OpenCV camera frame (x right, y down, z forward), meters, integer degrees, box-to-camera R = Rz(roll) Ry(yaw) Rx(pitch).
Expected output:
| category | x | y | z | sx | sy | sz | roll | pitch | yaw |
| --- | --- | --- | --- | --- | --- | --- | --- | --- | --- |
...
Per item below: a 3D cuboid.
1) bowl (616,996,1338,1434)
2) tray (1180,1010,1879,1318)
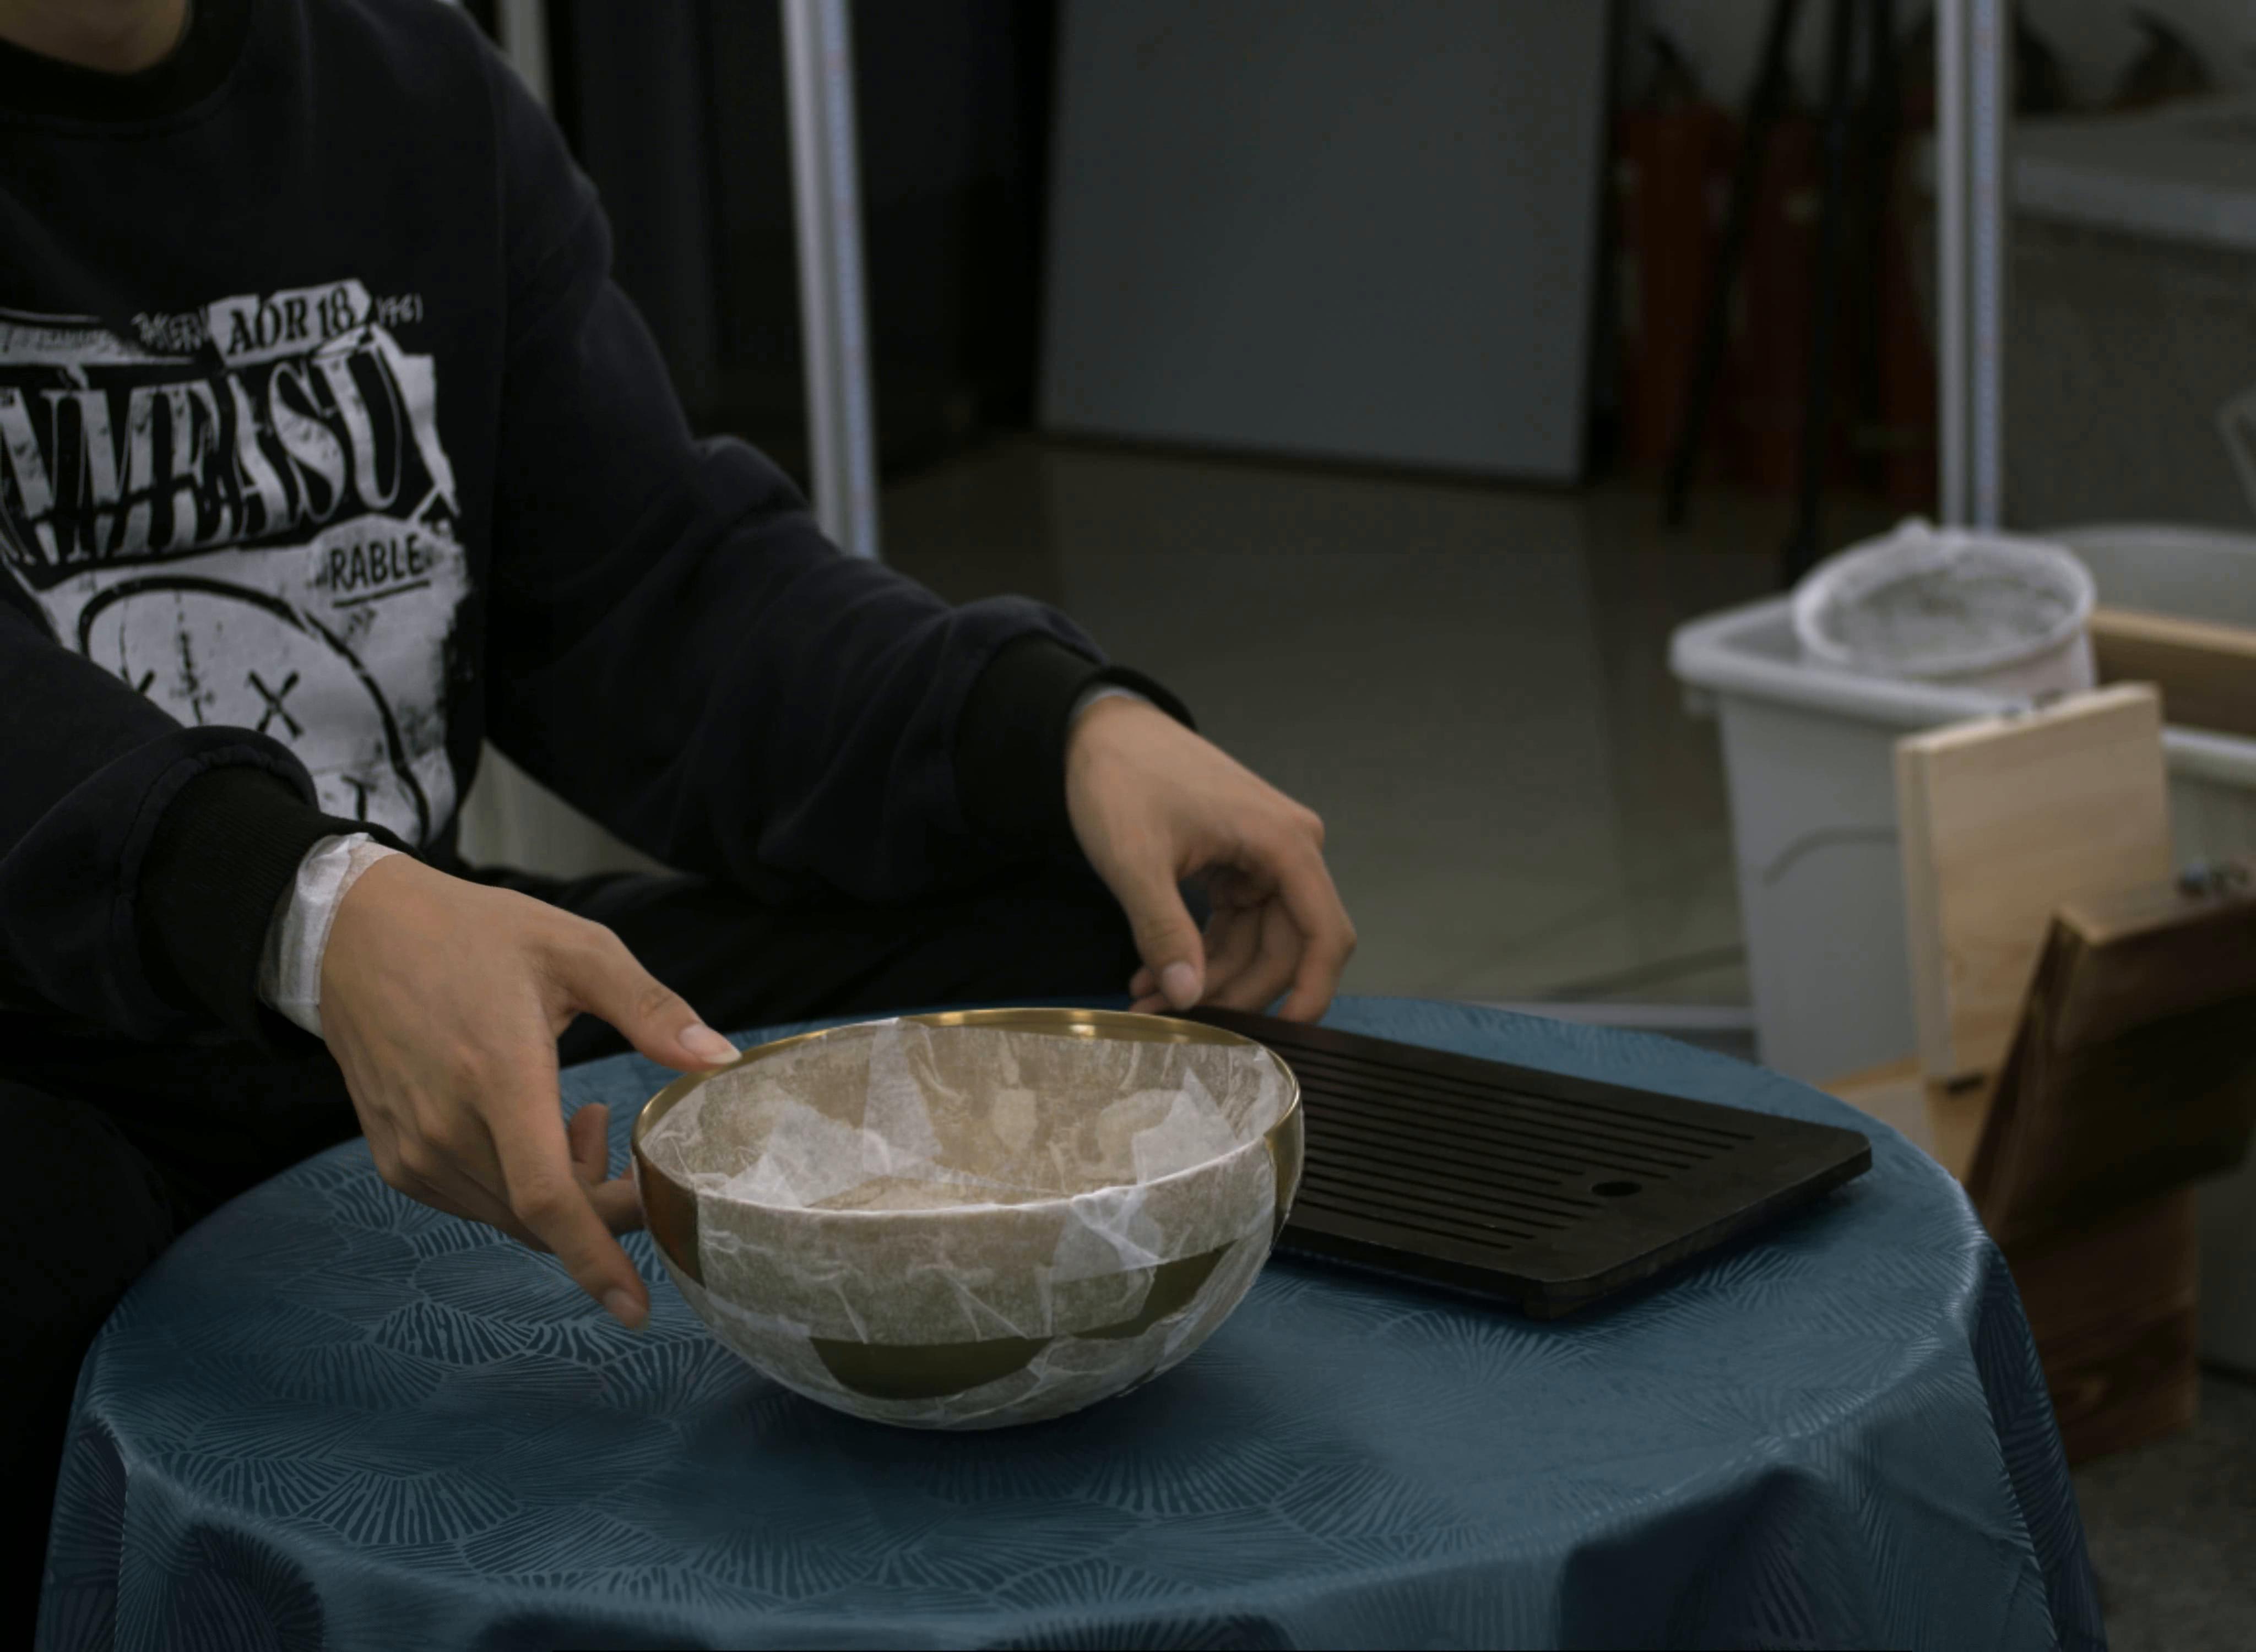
| category | x | y | z | sx | sy | sz | roll | pitch | yaw |
| --- | --- | --- | --- | --- | --- | --- | --- | --- | --- |
| bowl | -0.042 | 0.122 | 1.587 | 0.212 | 0.095 | 0.215 | -5 | 14 | 0 |
| tray | 0.080 | 0.108 | 1.766 | 0.308 | 0.019 | 0.167 | 9 | 19 | 43 |
